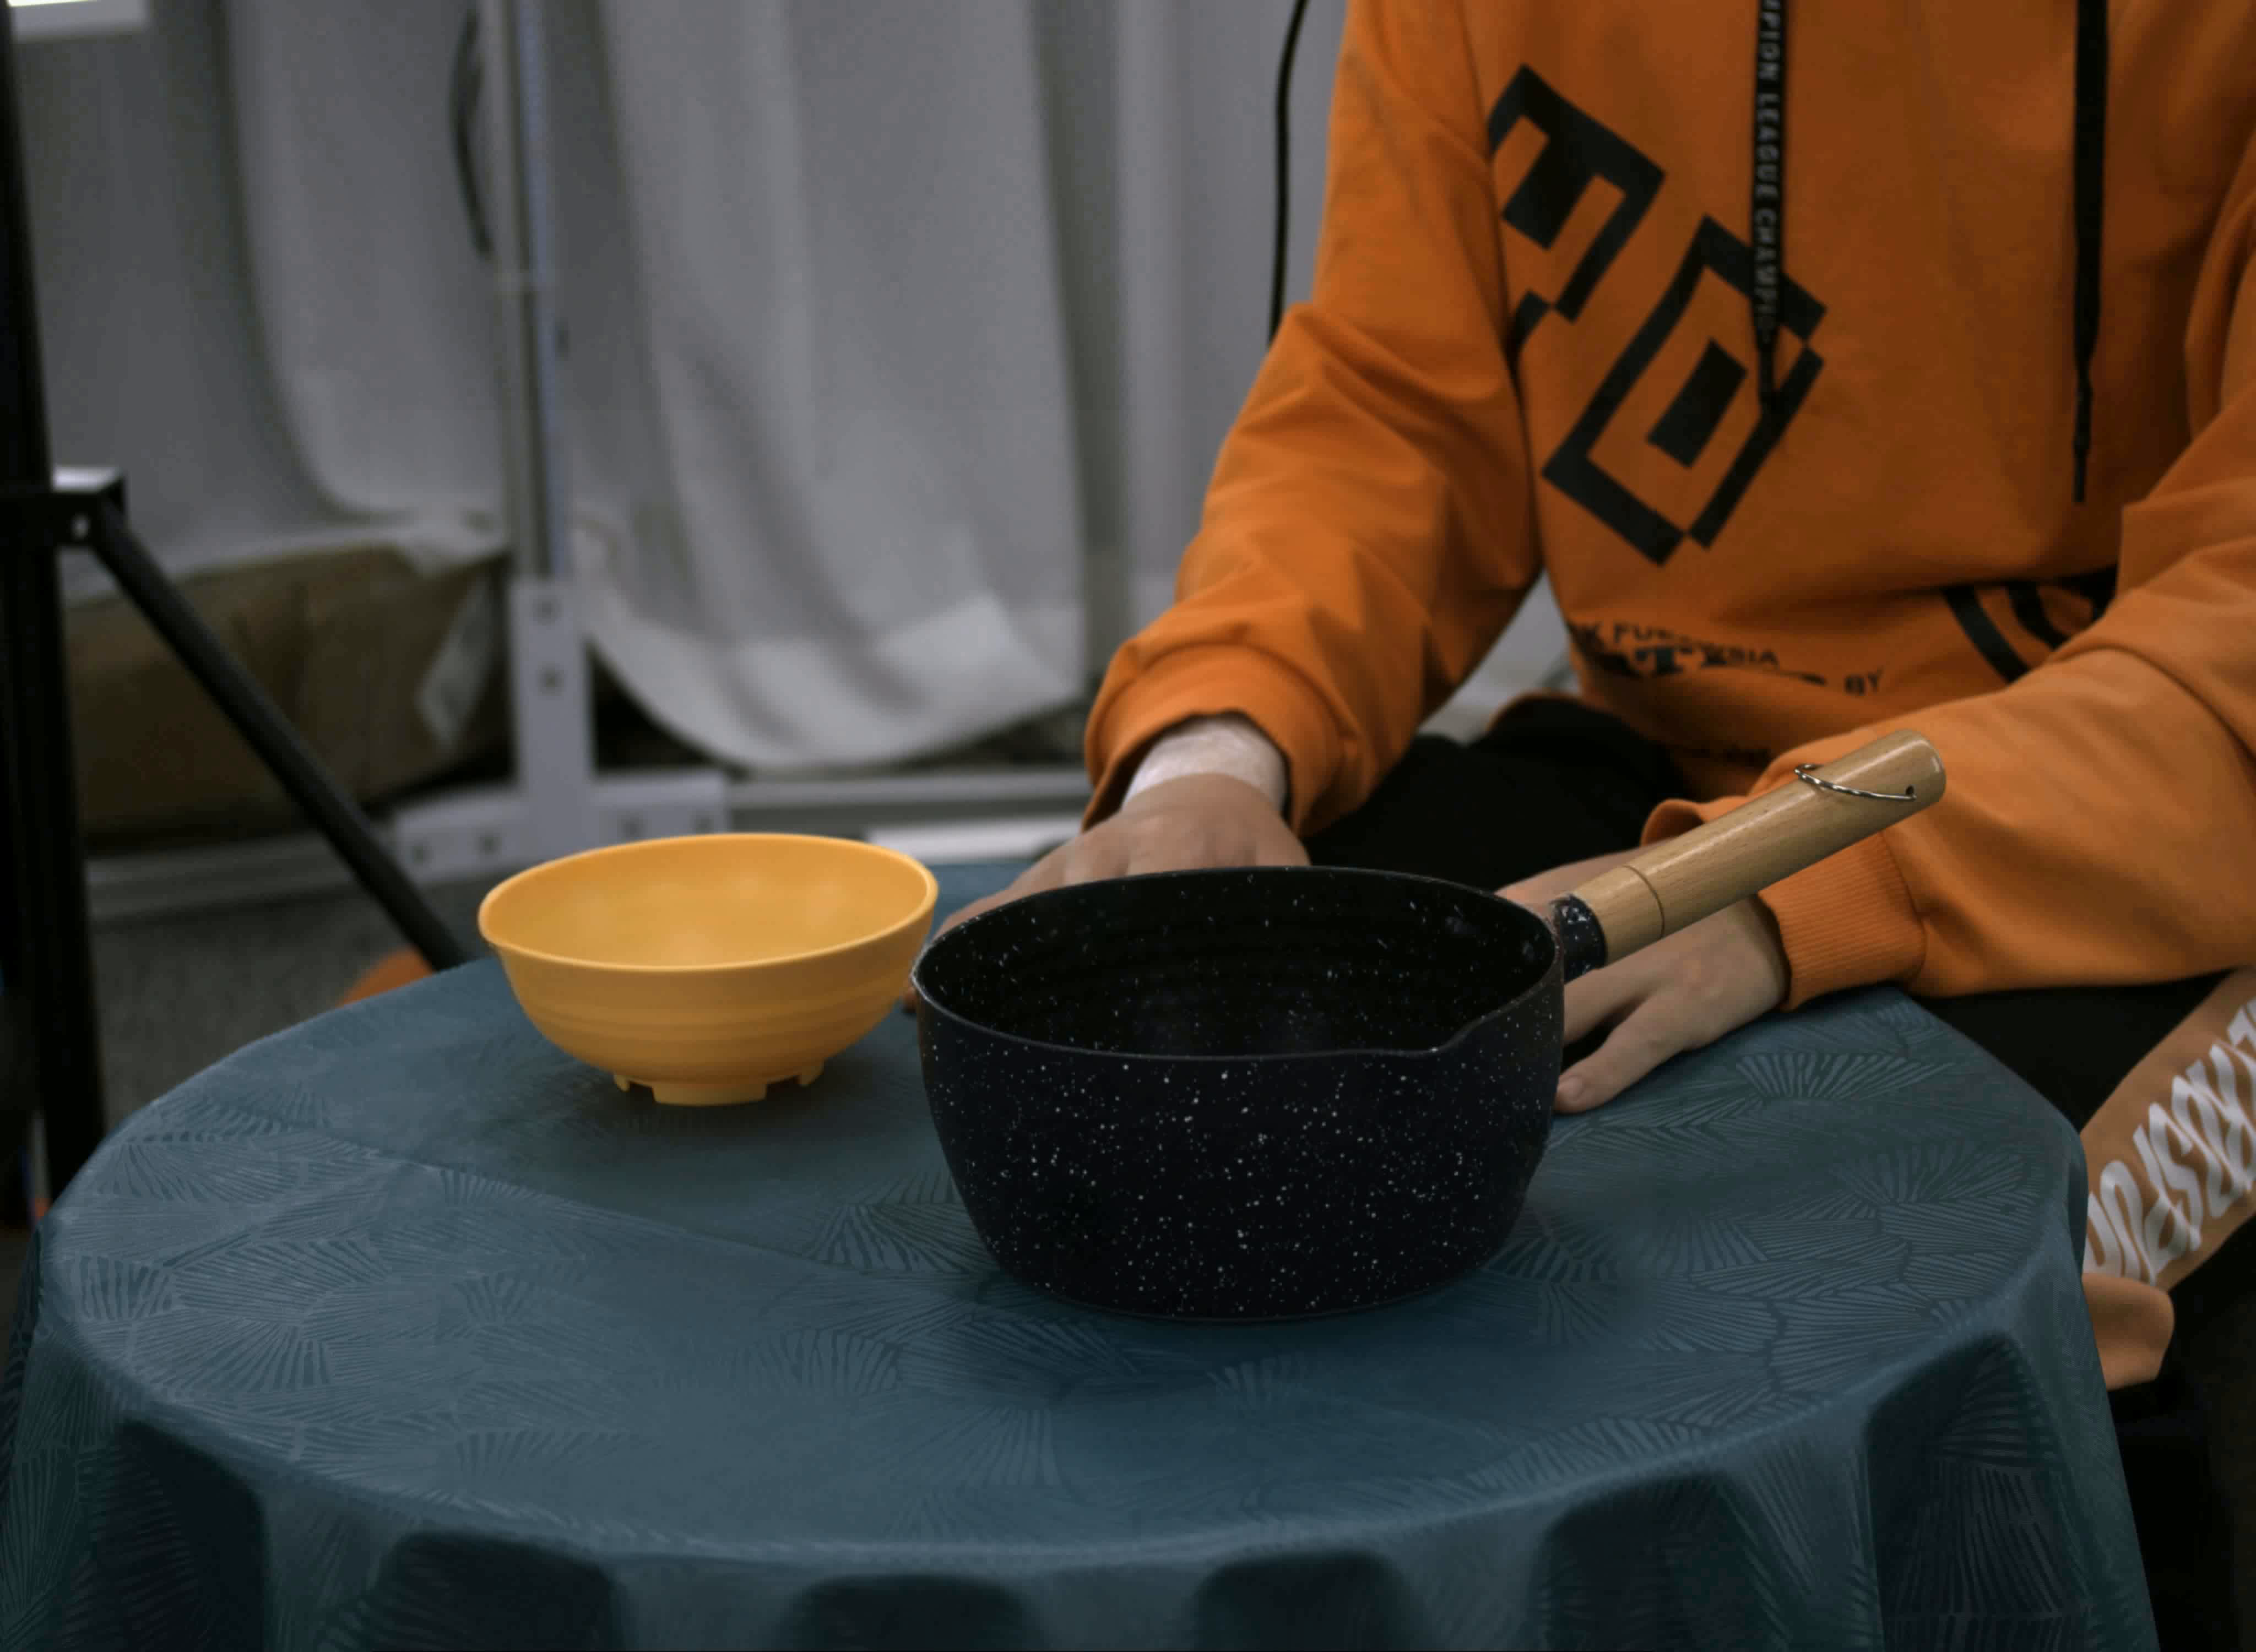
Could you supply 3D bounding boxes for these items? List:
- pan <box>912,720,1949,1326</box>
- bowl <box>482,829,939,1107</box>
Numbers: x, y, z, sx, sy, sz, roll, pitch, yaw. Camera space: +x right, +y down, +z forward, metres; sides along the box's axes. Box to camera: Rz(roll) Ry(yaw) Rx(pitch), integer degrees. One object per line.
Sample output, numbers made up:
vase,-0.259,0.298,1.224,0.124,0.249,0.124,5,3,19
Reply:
pan,0.100,0.052,1.541,0.335,0.108,0.212,-13,17,-28
bowl,-0.131,0.050,1.679,0.144,0.060,0.146,-2,16,-1
